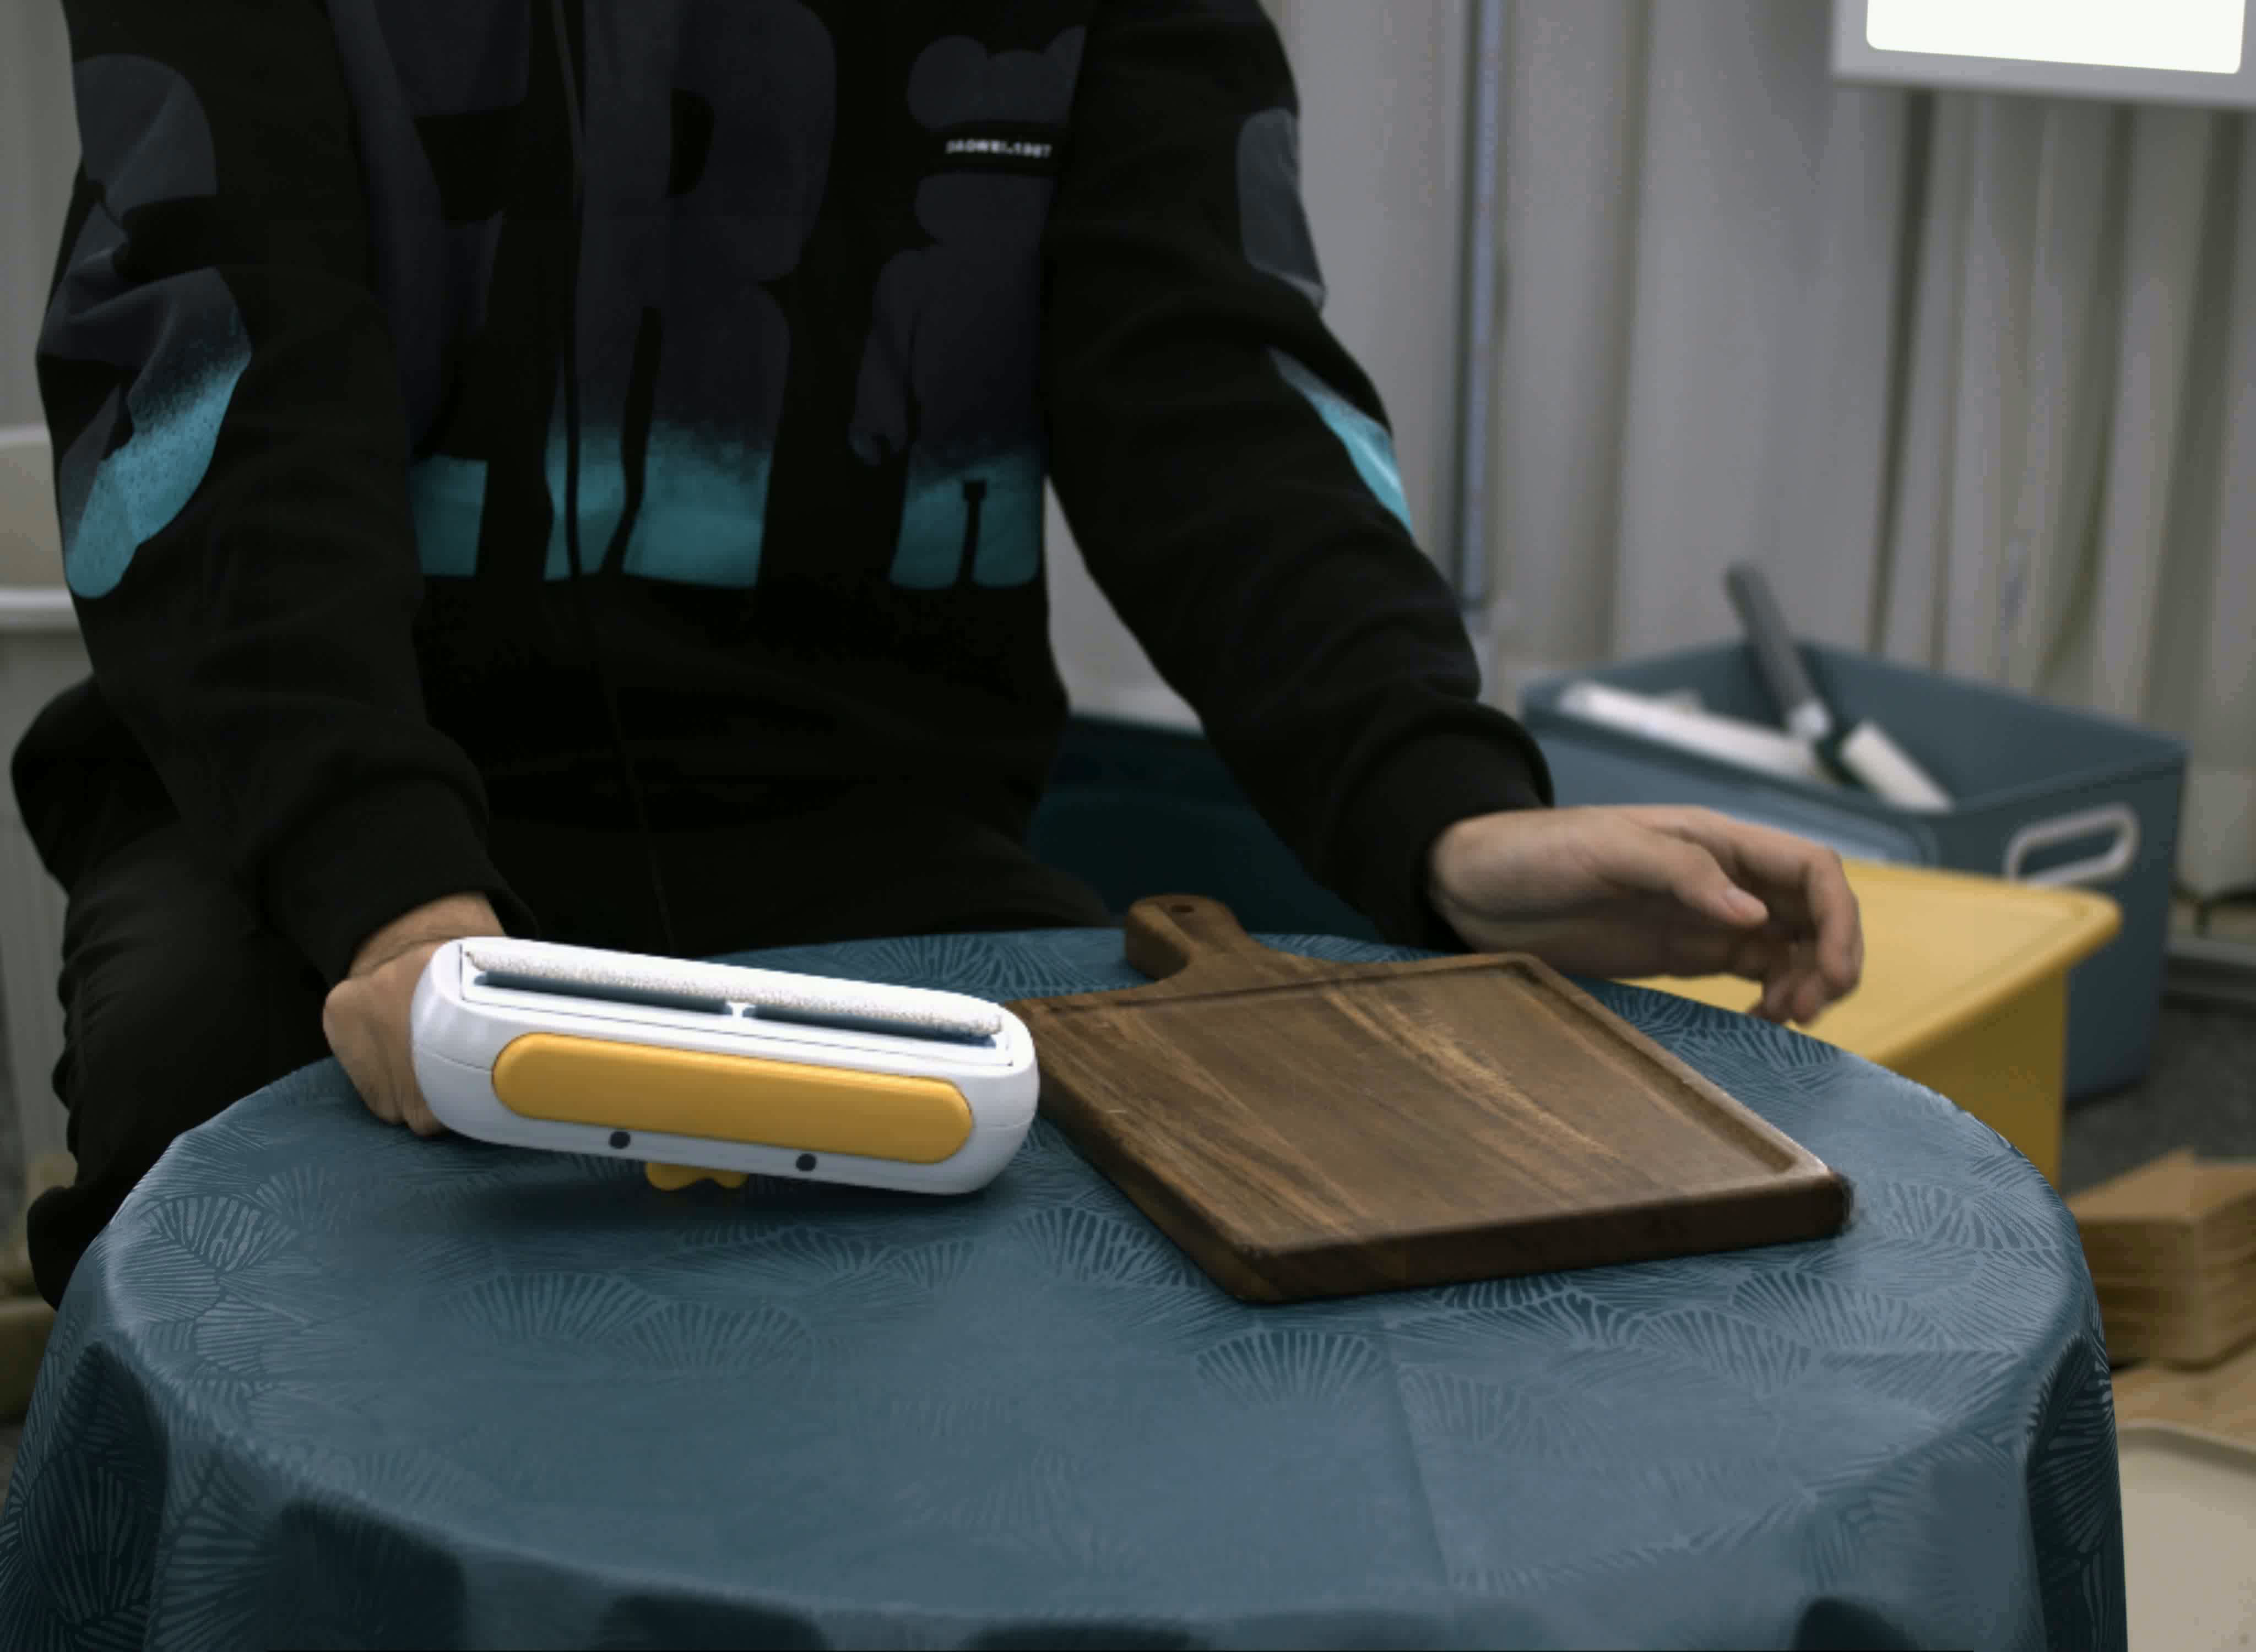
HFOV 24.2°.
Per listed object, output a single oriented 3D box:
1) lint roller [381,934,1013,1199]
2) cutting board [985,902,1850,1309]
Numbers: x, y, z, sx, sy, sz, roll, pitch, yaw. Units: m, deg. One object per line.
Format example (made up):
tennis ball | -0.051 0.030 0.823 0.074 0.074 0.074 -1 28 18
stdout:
lint roller | -0.137 0.066 1.659 0.193 0.075 0.191 4 13 -7
cutting board | 0.069 0.079 1.704 0.201 0.023 0.348 -6 16 -19
